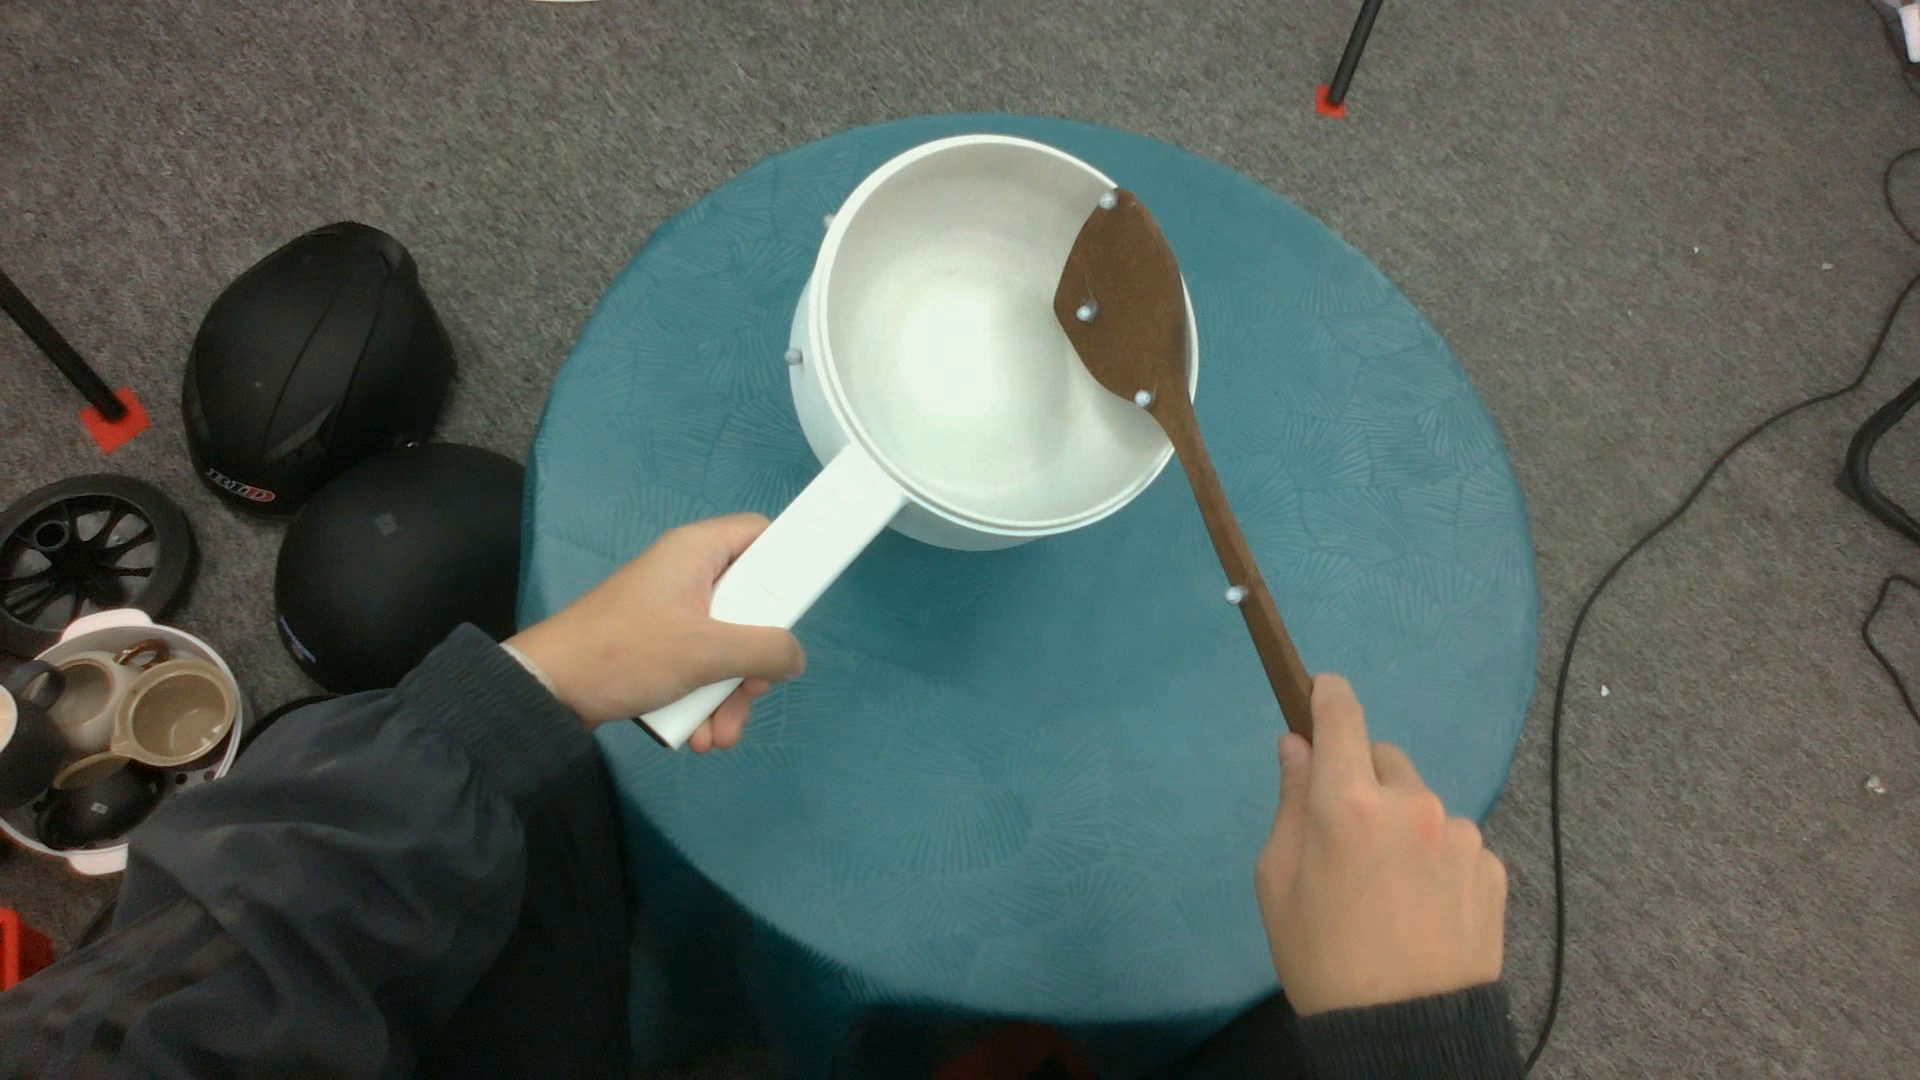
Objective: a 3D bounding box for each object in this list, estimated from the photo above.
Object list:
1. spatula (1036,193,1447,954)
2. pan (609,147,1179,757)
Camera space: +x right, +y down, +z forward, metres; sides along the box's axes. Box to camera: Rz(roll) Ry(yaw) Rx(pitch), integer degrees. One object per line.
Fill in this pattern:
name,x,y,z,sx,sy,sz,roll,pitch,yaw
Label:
spatula,0.121,0.004,0.631,0.016,0.095,0.387,-10,62,-25
pan,-0.042,-0.037,0.699,0.201,0.102,0.356,42,71,-8
